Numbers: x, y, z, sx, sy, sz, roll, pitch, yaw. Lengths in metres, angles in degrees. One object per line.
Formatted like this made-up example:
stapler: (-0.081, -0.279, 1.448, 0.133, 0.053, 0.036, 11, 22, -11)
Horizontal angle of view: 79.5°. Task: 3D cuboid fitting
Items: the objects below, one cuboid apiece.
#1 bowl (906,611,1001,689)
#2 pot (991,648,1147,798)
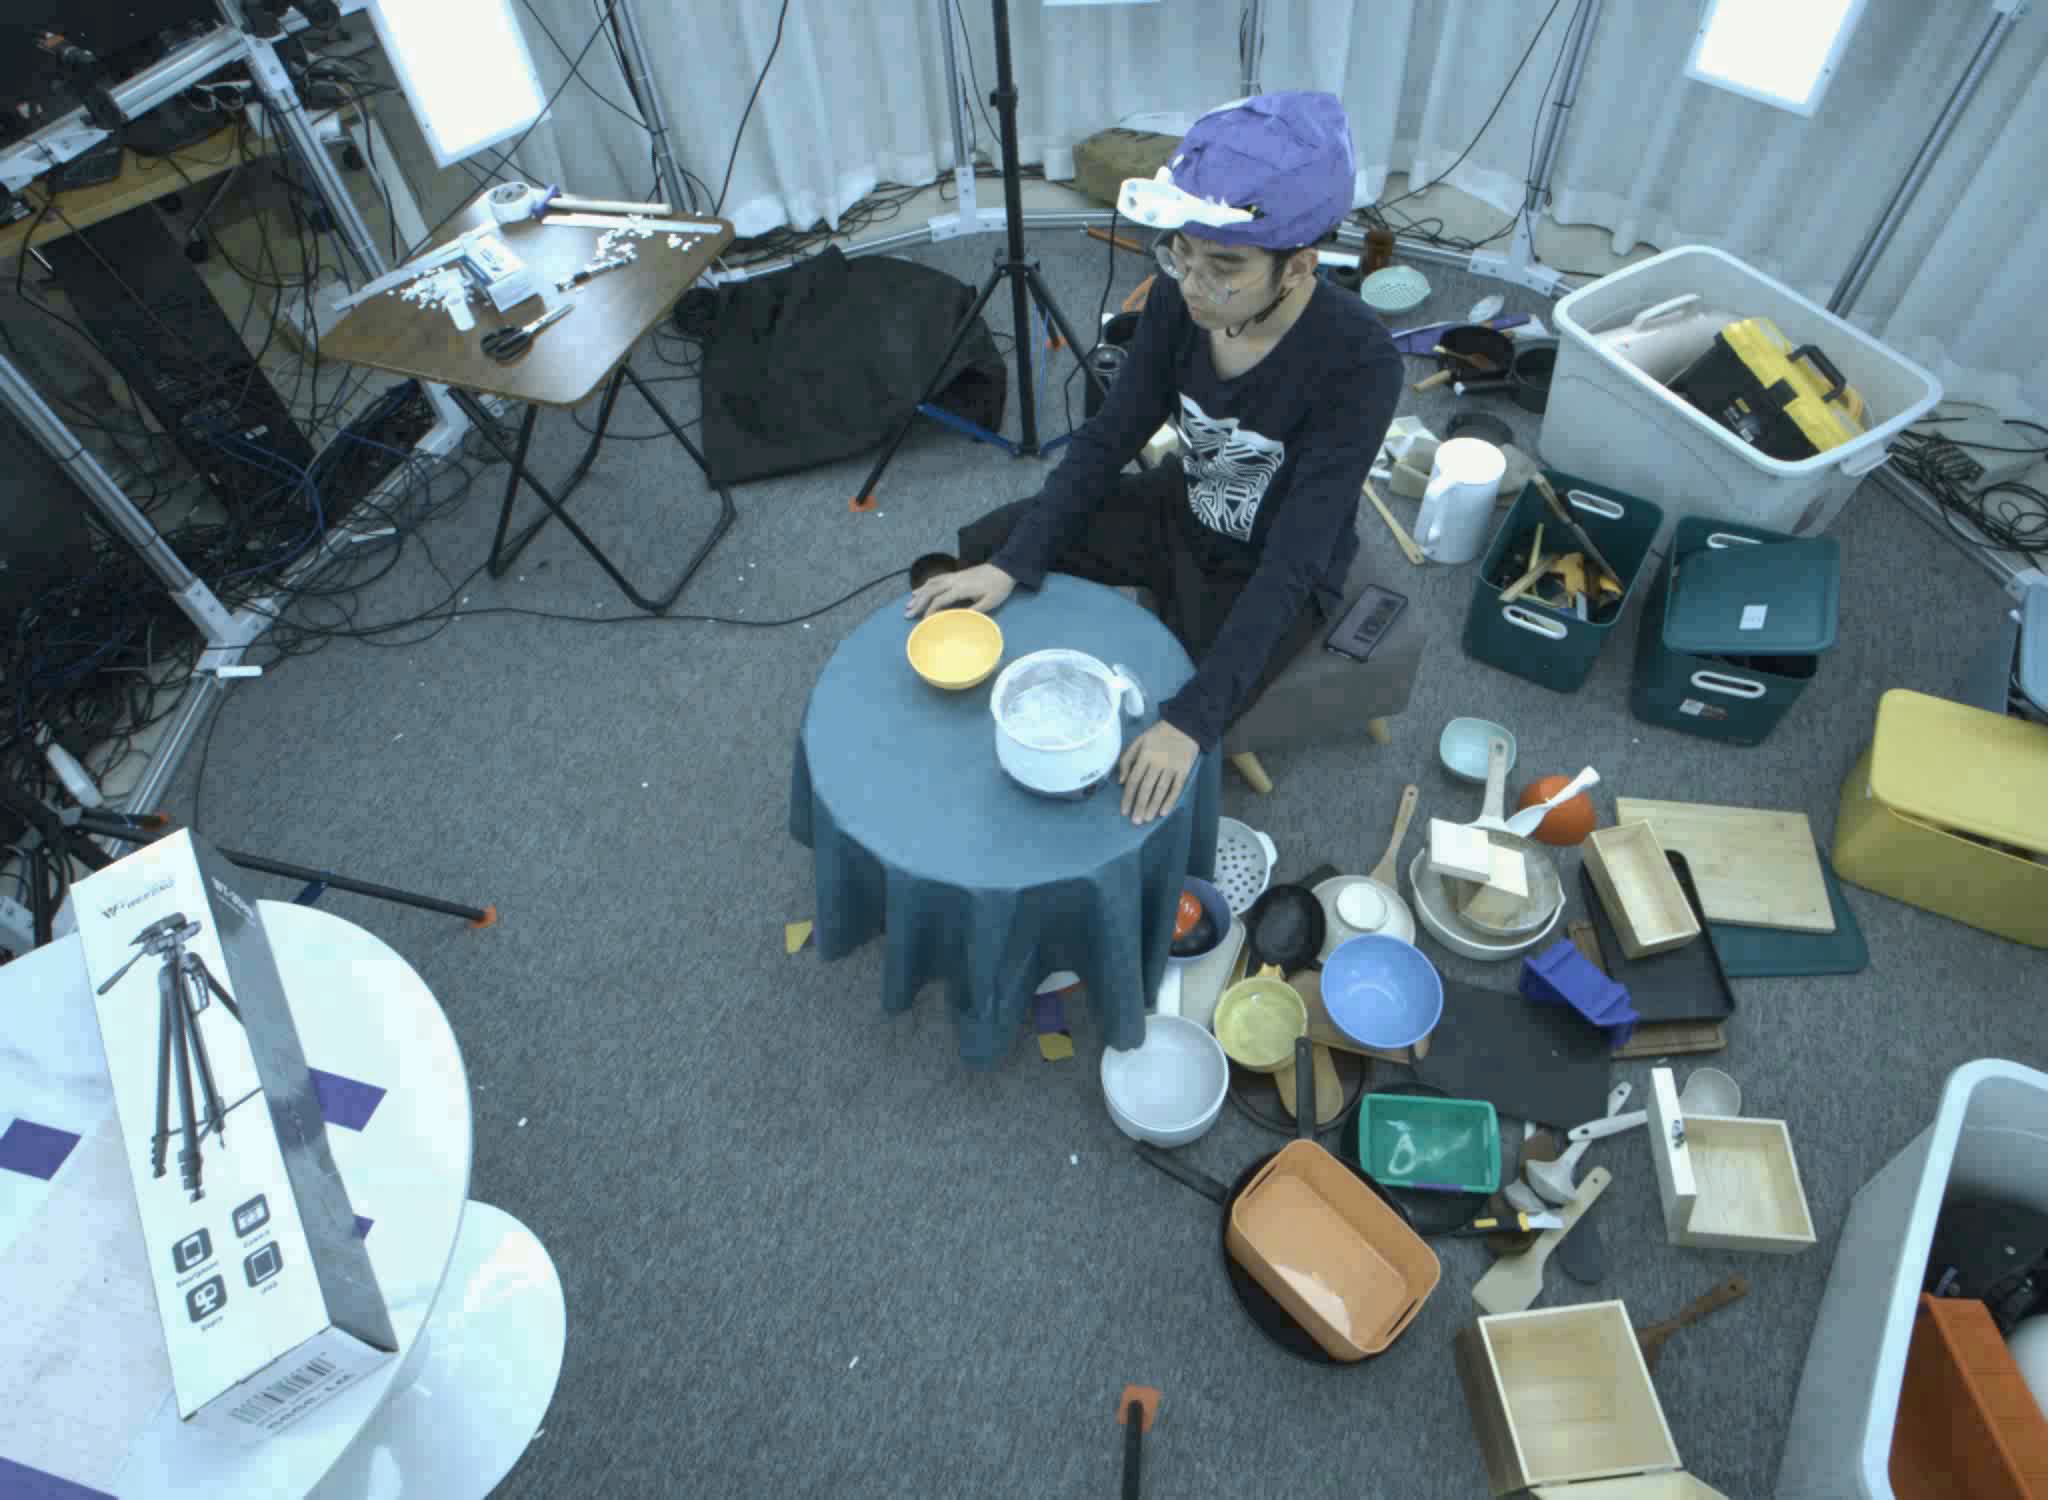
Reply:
bowl: (-0.104, -0.141, 1.860, 0.145, 0.061, 0.144, 0, 52, 1)
pot: (0.070, -0.047, 1.741, 0.235, 0.138, 0.175, -28, 61, -16)
